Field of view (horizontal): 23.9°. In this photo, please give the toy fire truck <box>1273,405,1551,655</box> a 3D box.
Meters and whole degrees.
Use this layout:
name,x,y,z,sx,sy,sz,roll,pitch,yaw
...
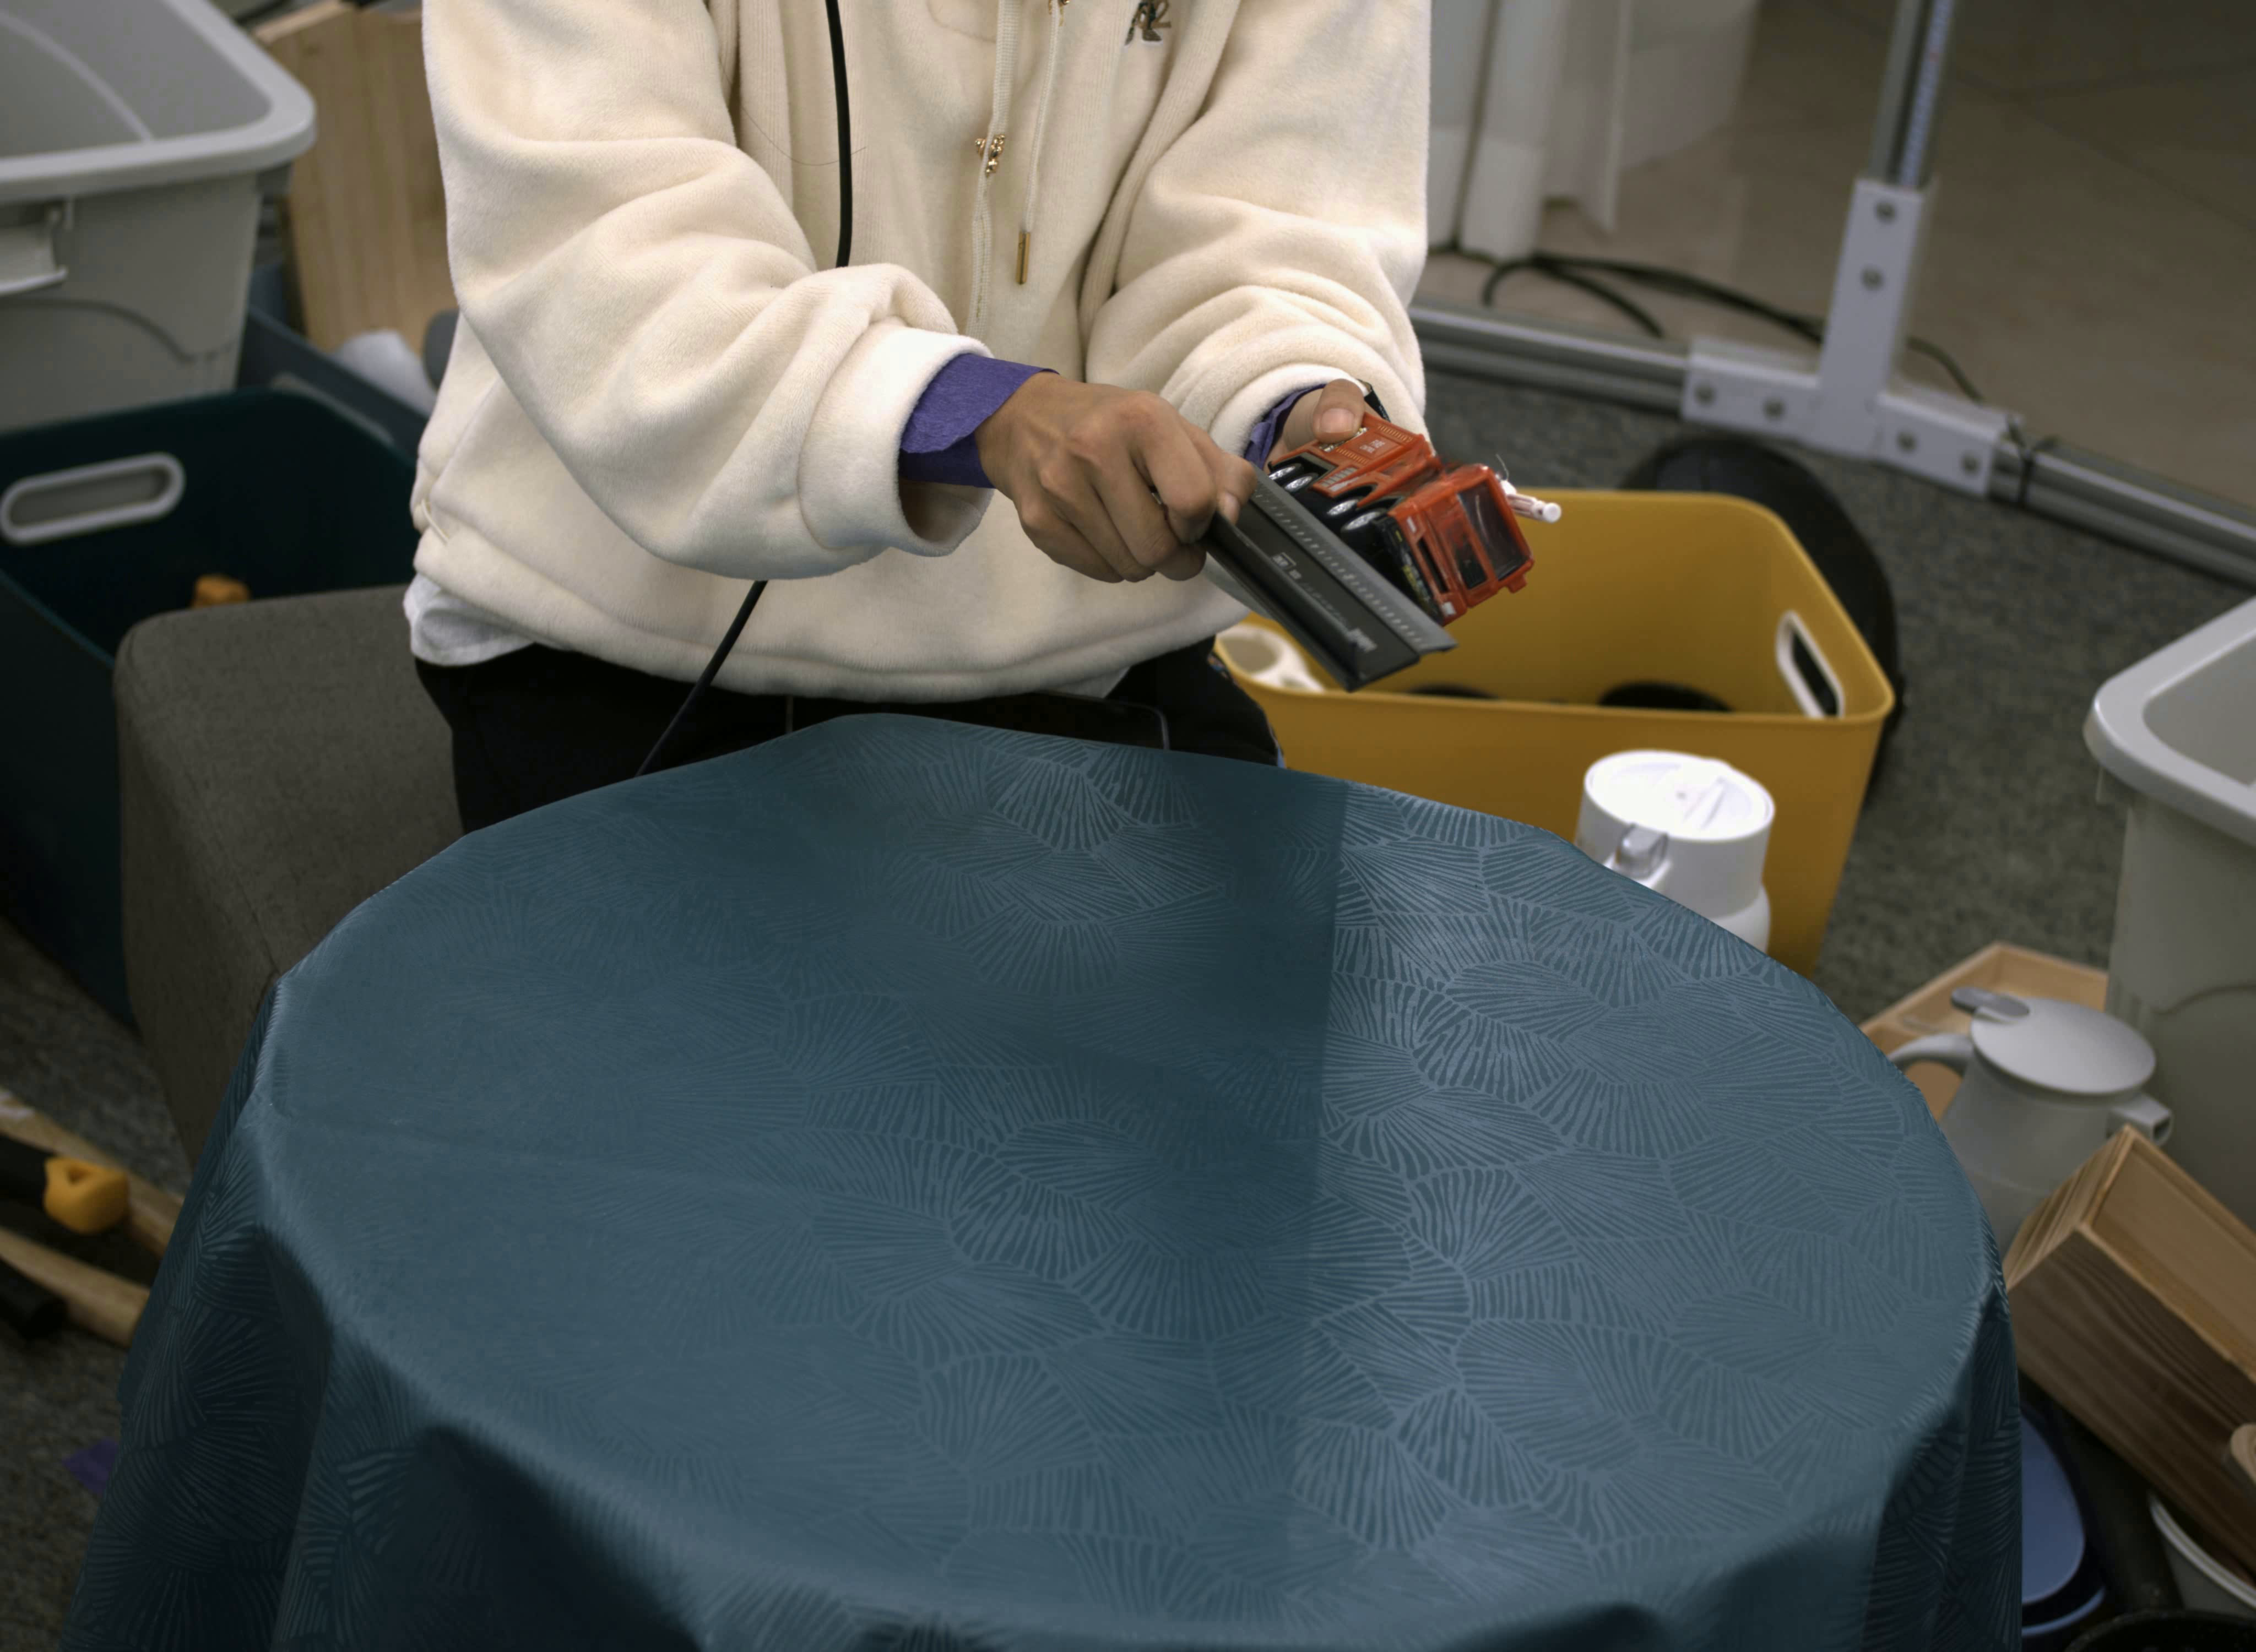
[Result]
name,x,y,z,sx,sy,sz,roll,pitch,yaw
toy fire truck,0.095,-0.107,1.881,0.070,0.054,0.169,-30,15,-7

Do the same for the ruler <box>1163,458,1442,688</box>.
name,x,y,z,sx,sy,sz,roll,pitch,yaw
ruler,0.054,-0.094,1.807,0.039,0.017,0.314,-21,17,-4
